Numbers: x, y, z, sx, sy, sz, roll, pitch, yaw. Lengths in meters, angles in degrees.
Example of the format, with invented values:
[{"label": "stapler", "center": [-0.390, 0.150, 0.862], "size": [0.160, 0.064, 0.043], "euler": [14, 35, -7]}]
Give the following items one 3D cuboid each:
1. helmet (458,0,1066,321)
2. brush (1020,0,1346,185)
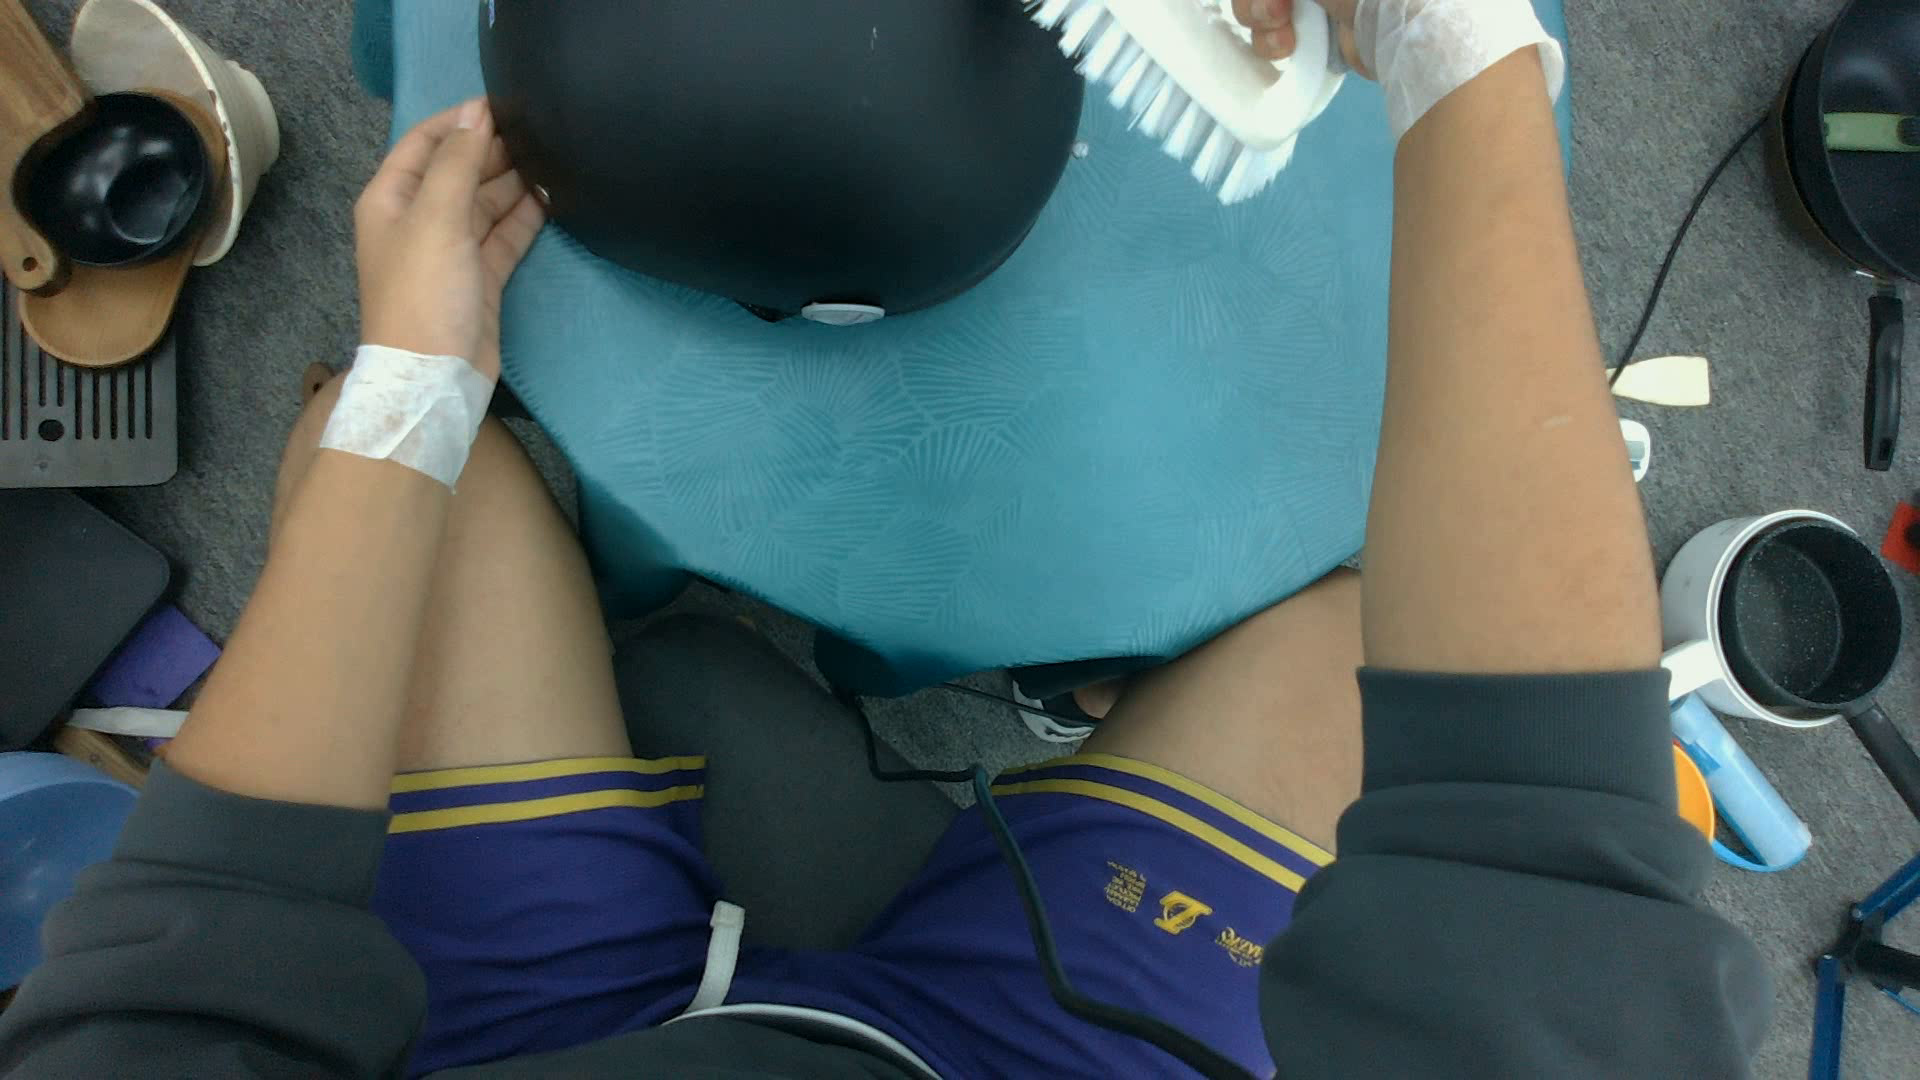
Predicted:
[{"label": "helmet", "center": [-0.073, -0.219, 0.582], "size": [0.273, 0.166, 0.230], "euler": [12, 86, -14]}, {"label": "brush", "center": [0.064, -0.218, 0.496], "size": [0.175, 0.094, 0.062], "euler": [45, 53, 7]}]
